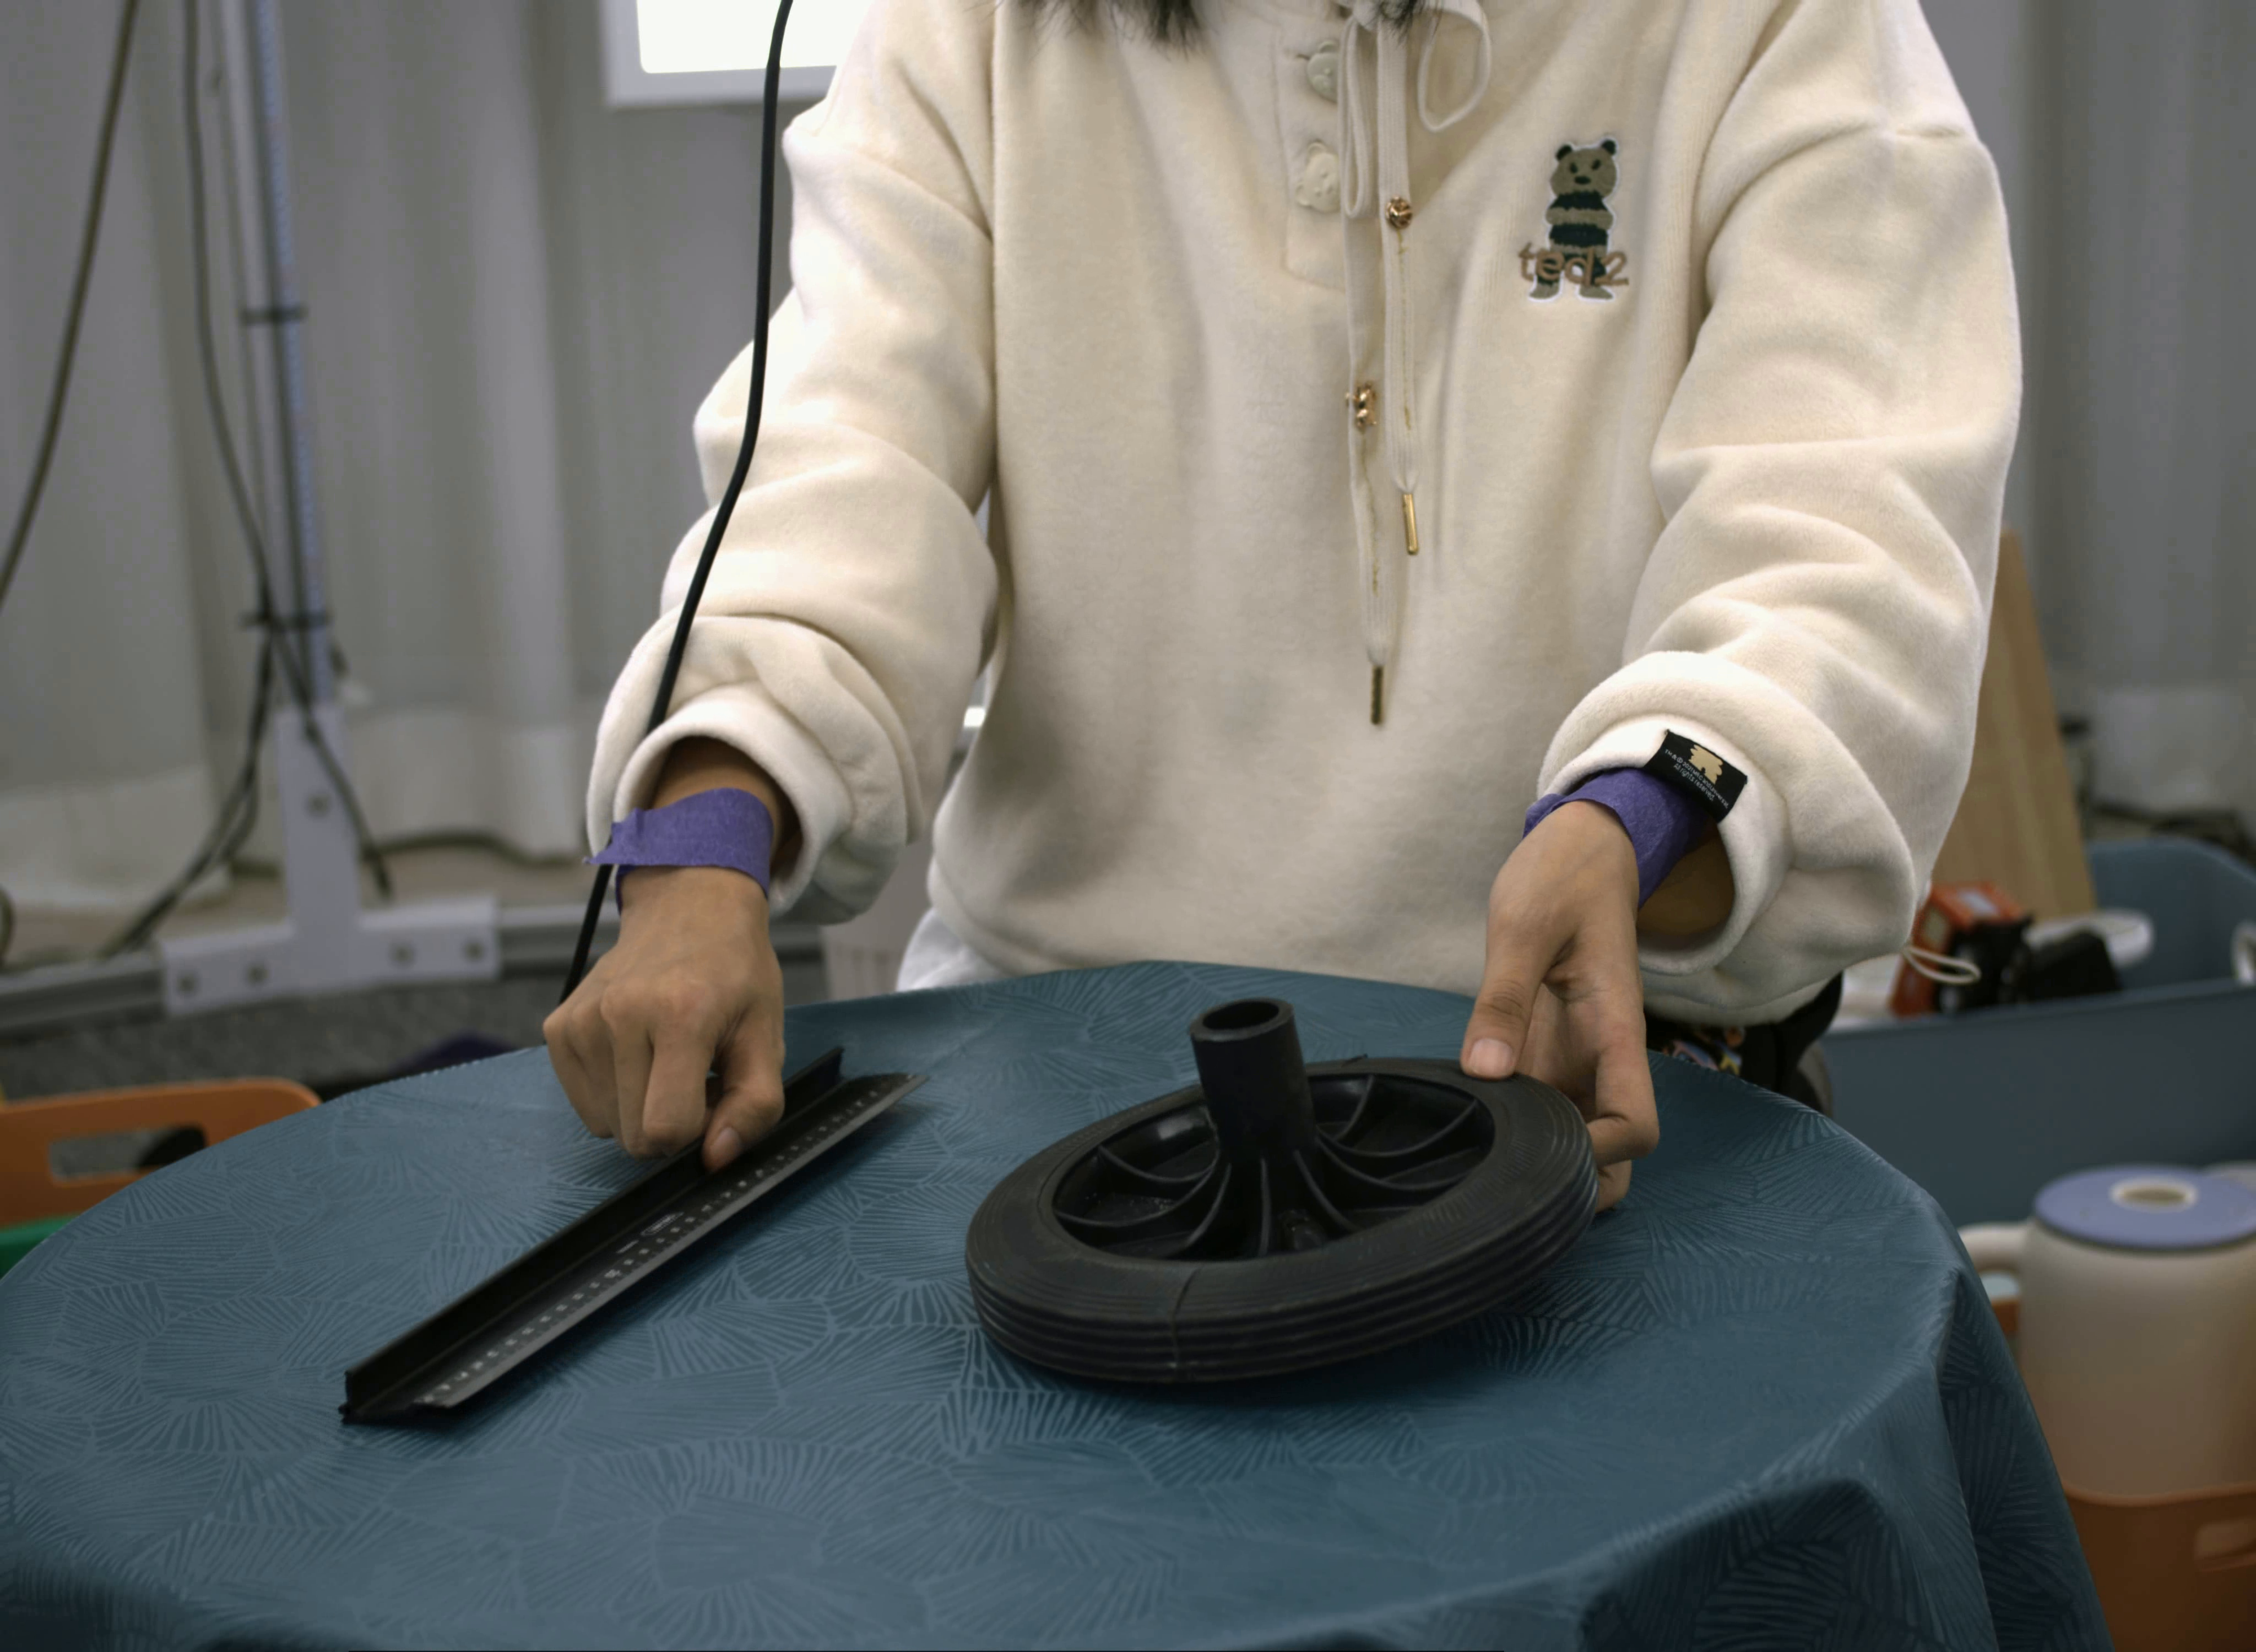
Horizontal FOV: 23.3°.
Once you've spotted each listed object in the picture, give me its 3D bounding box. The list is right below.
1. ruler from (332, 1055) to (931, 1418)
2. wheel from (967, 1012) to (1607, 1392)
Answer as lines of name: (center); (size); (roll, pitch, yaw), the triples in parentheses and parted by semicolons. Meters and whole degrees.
ruler: (-0.146, 0.121, 1.675); (0.039, 0.017, 0.313); (-2, 14, 26)
wheel: (0.043, 0.097, 1.599); (0.187, 0.078, 0.191); (-21, 20, -29)
